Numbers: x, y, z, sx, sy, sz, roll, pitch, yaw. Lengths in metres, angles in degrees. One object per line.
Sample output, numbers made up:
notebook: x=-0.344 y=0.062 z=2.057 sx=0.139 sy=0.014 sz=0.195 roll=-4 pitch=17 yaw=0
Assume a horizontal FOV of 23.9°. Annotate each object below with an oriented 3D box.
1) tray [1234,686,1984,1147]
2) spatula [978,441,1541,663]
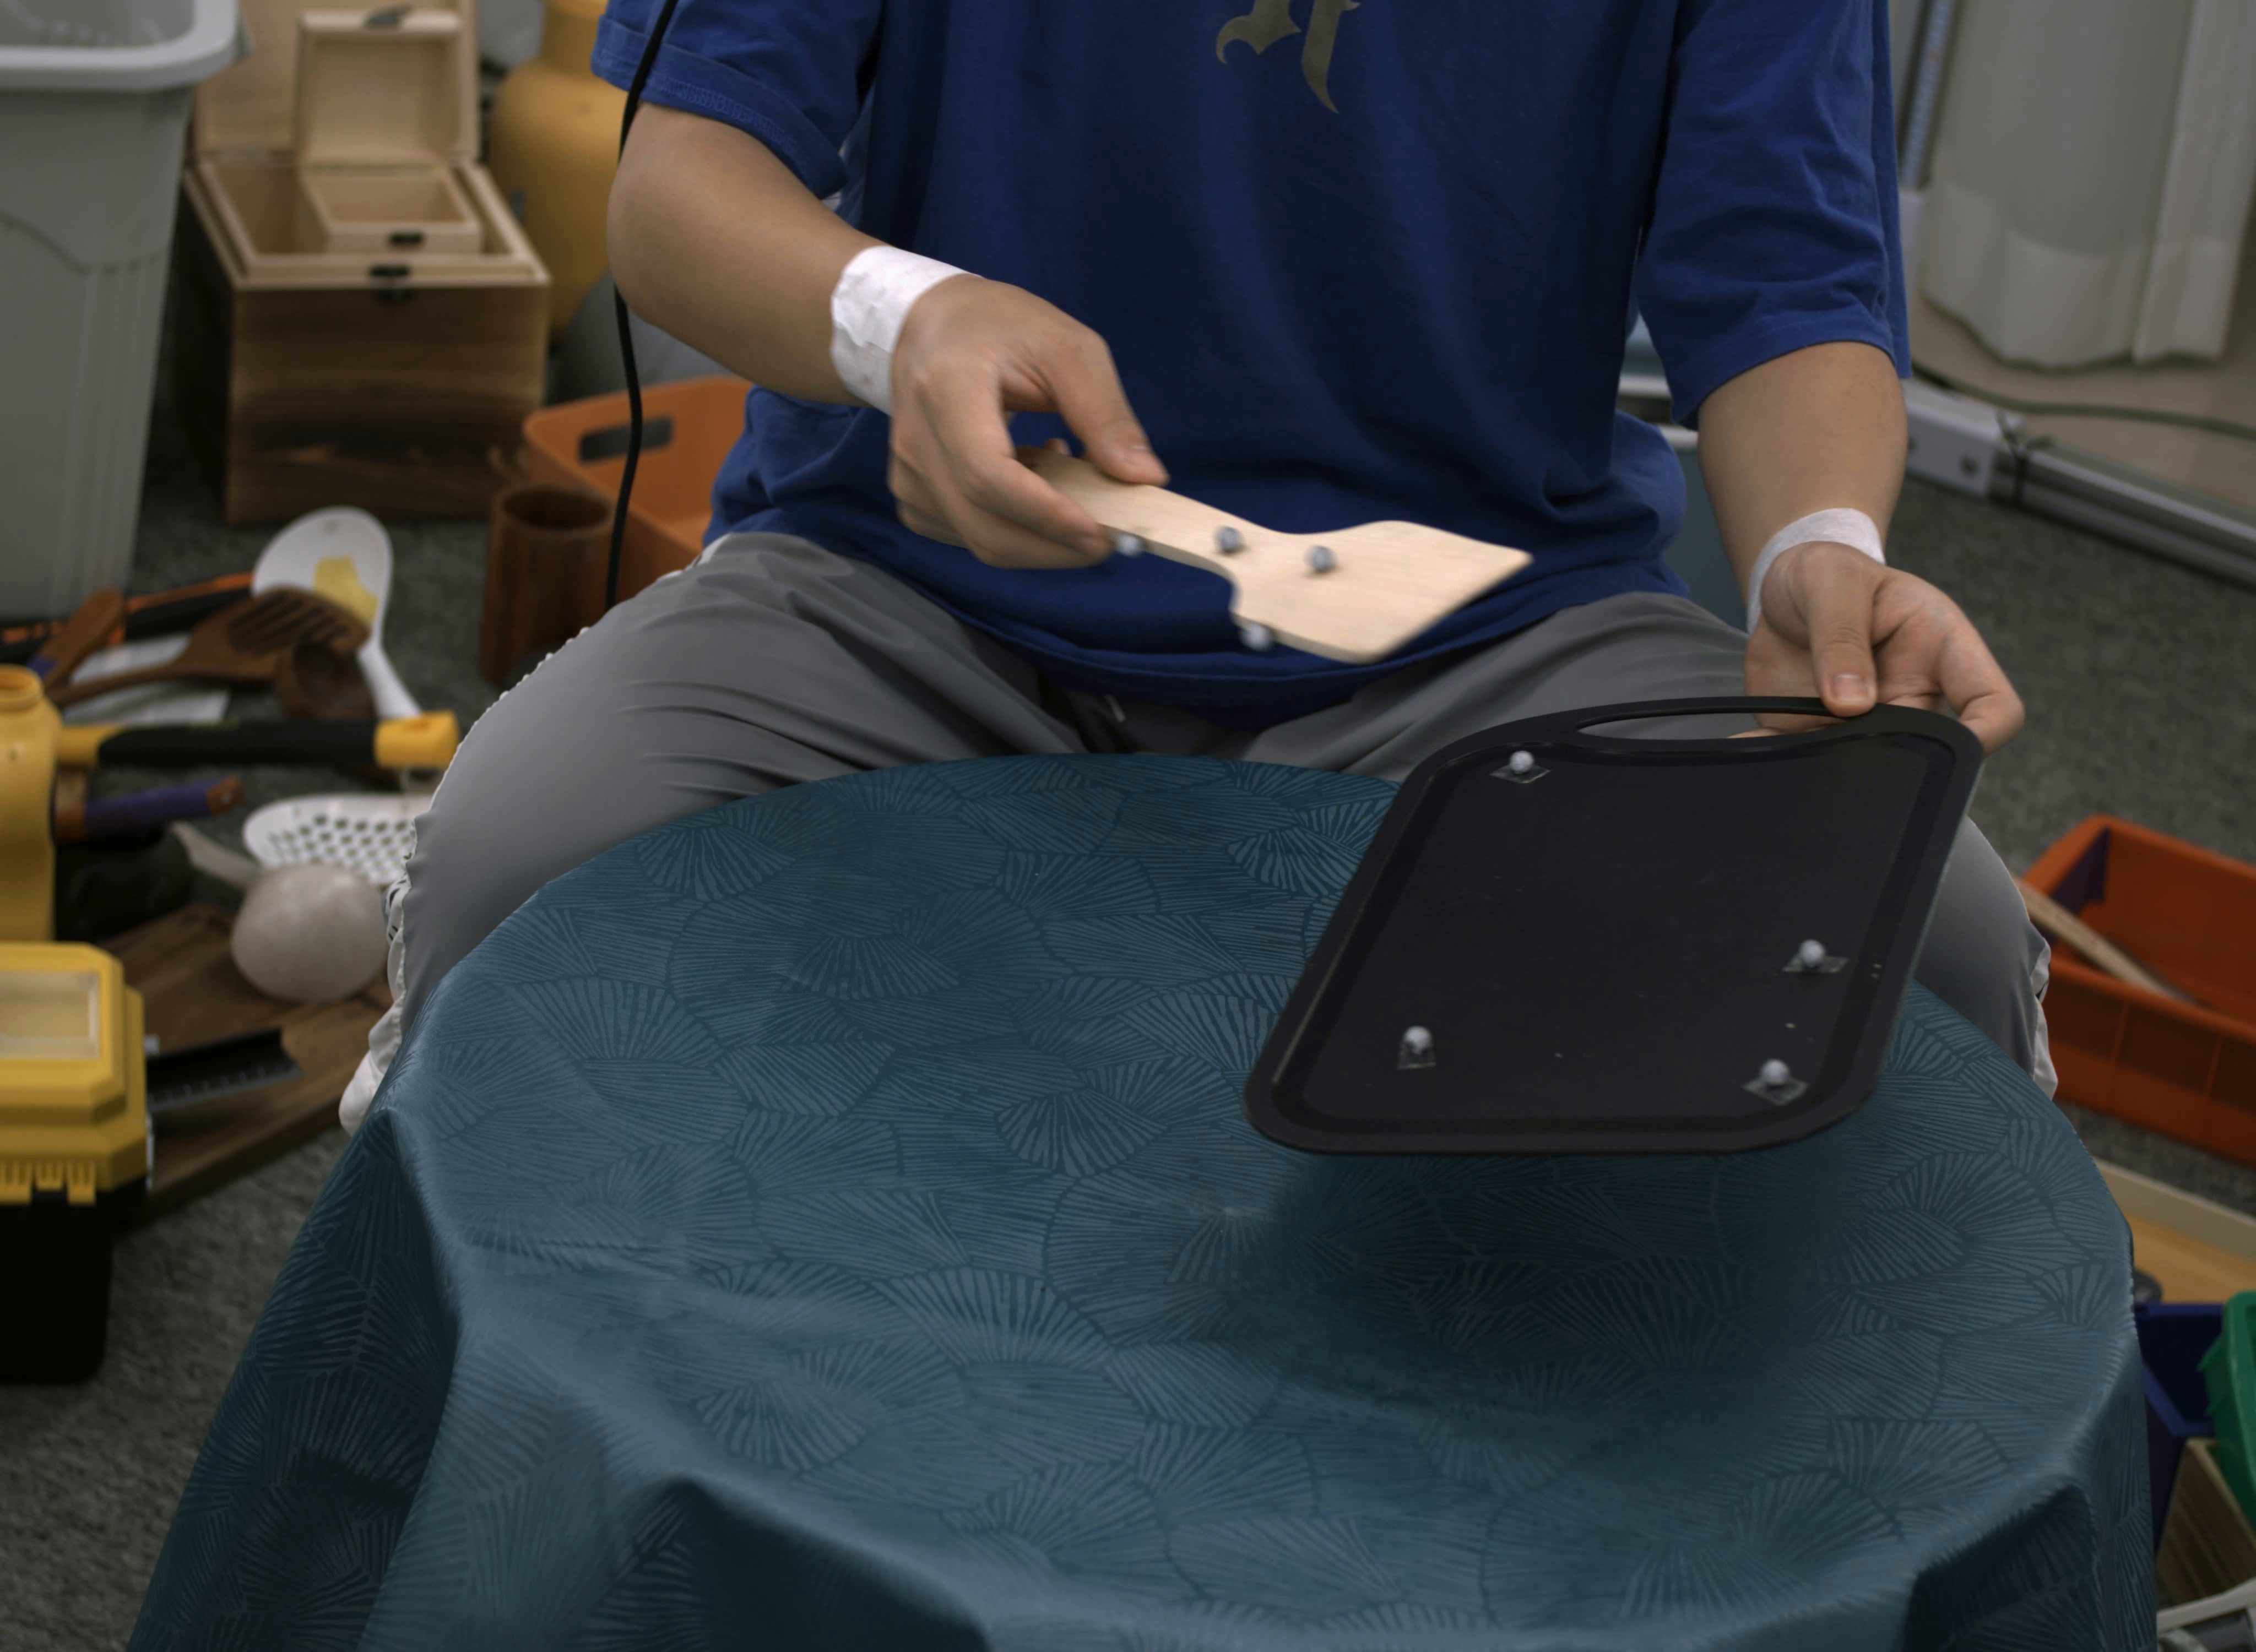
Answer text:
tray: x=0.168 y=0.024 z=1.796 sx=0.211 sy=0.010 sz=0.326 roll=-2 pitch=27 yaw=21
spatula: x=0.031 y=-0.099 z=1.830 sx=0.072 sy=0.010 sz=0.295 roll=-33 pitch=28 yaw=-22
